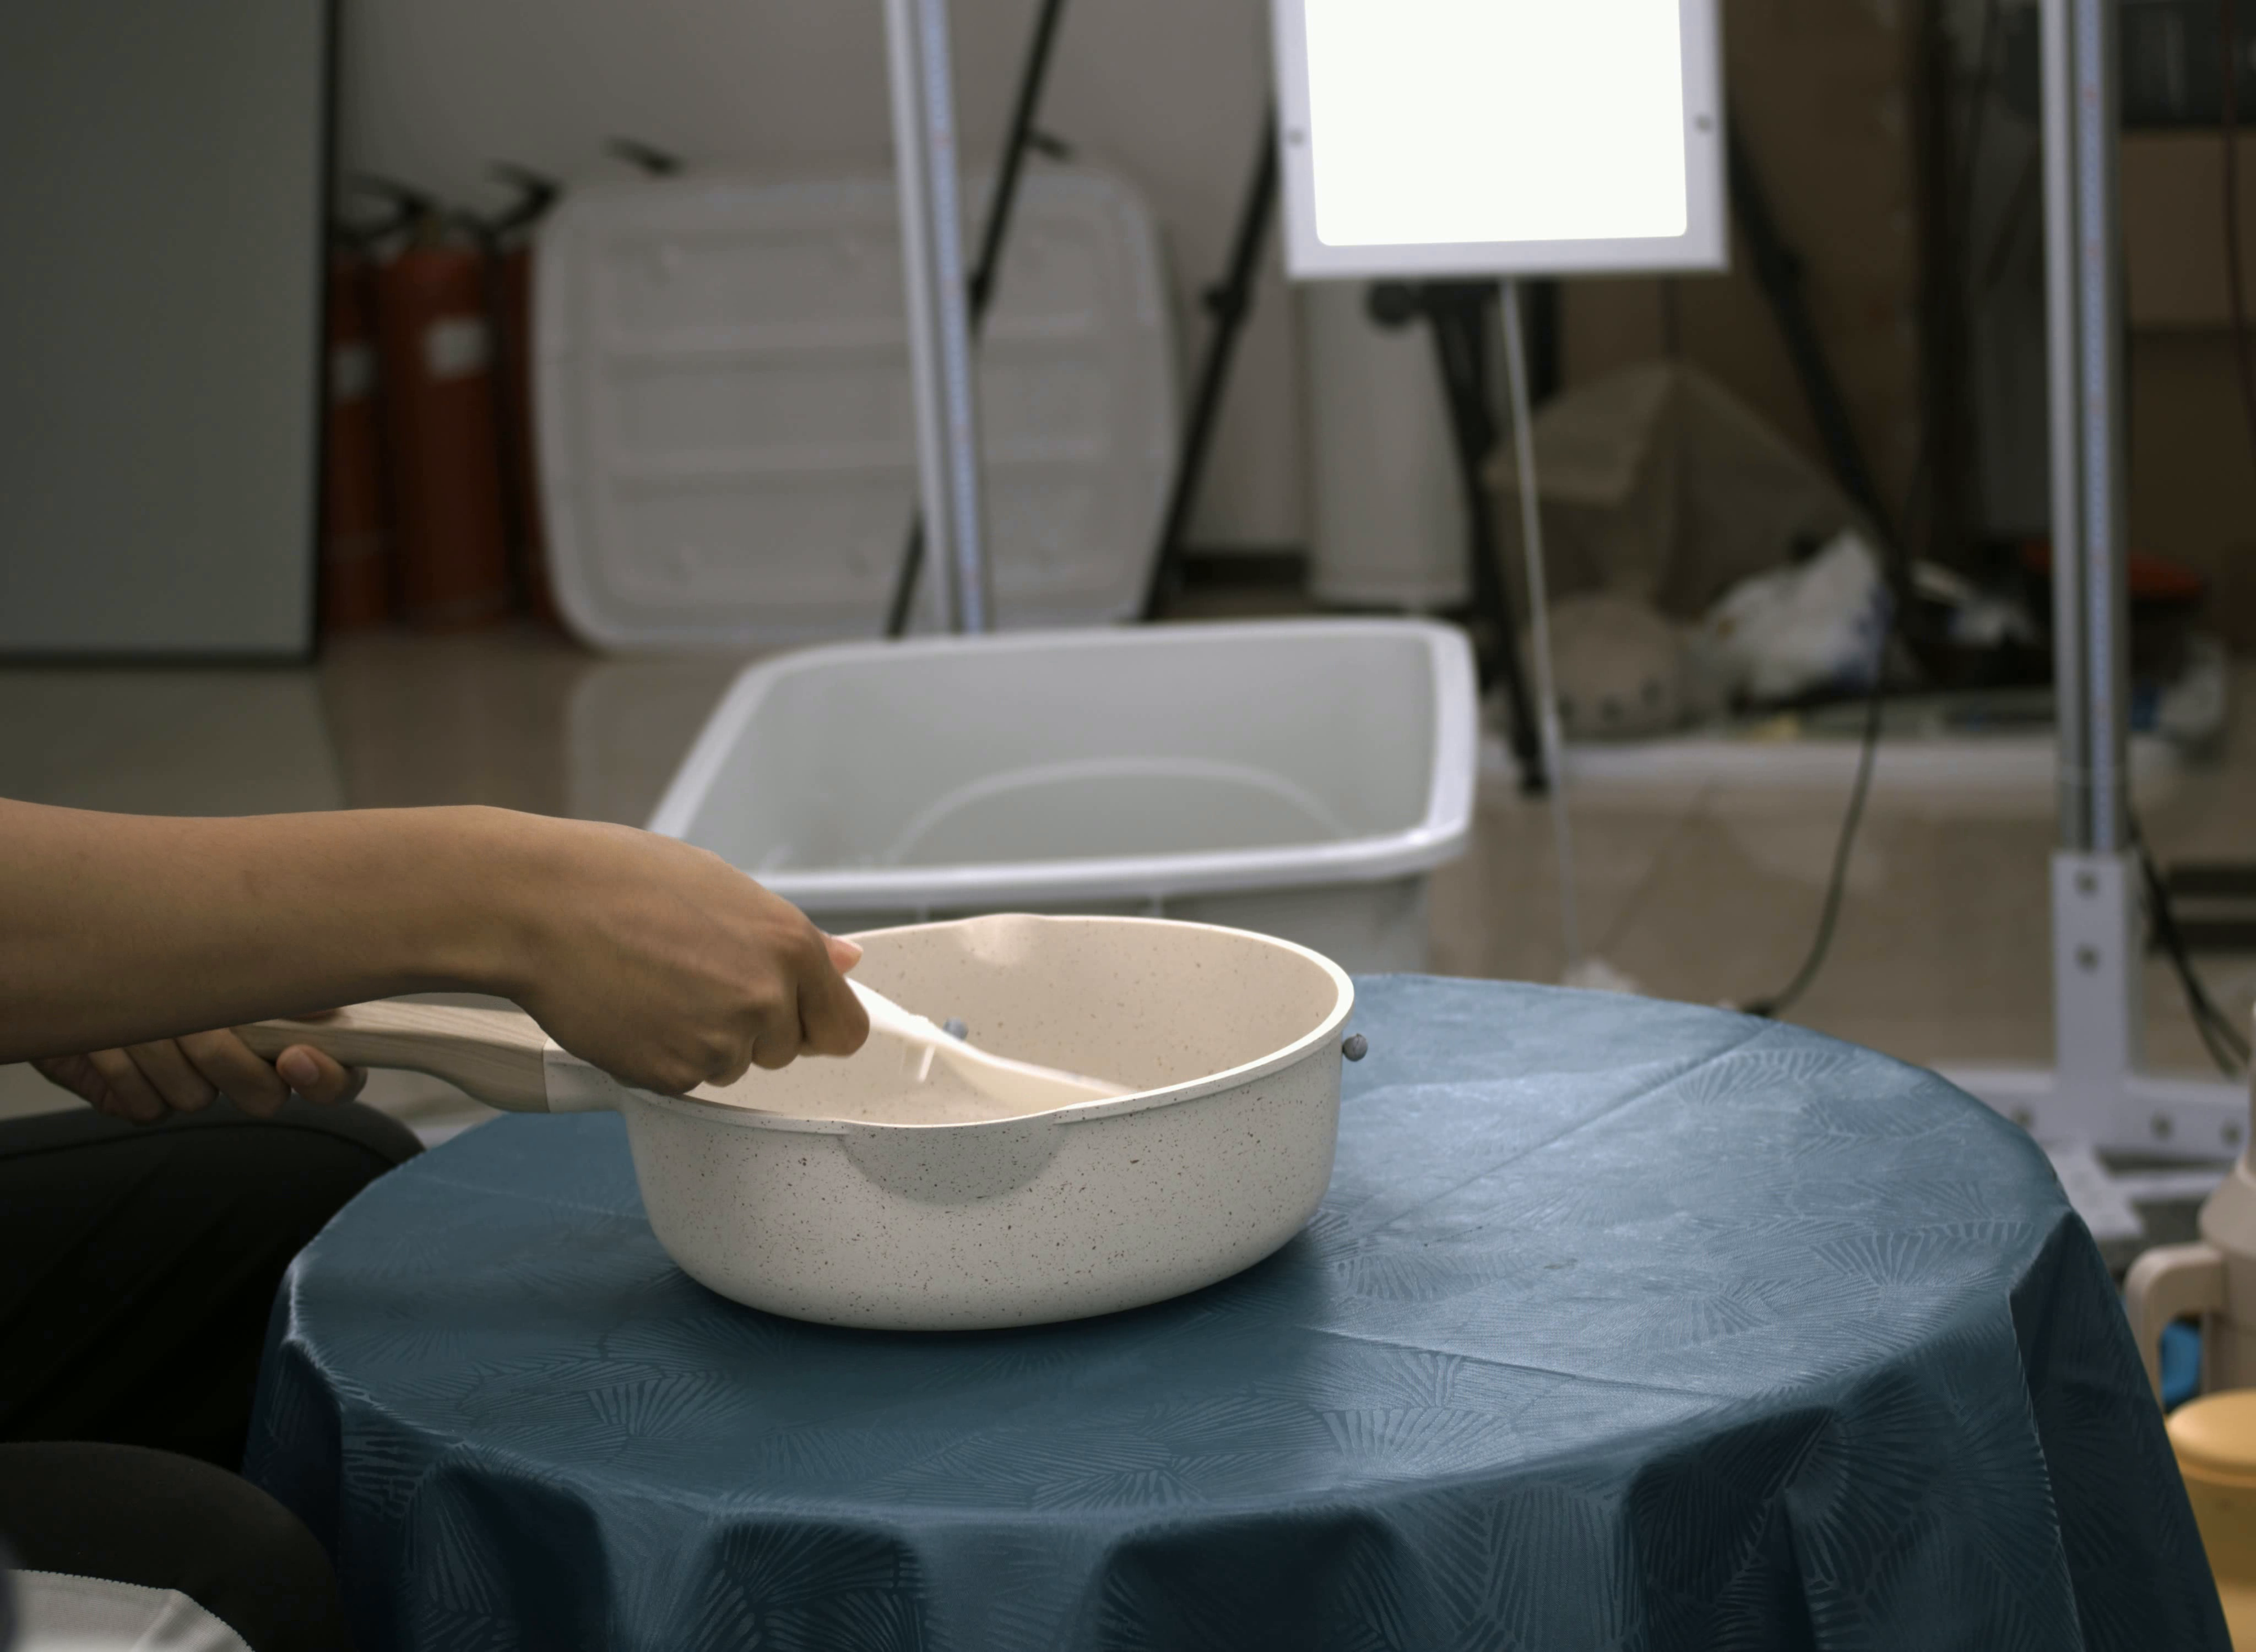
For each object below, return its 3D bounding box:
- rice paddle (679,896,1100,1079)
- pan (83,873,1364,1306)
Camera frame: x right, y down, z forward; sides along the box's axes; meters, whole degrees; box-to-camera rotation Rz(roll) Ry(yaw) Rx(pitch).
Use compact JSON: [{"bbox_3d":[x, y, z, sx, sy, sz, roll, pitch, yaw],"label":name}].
[{"bbox_3d":[-0.060,0.063,1.827,0.201,0.029,0.070,20,-3,-37],"label":"rice paddle"},{"bbox_3d":[-0.134,0.090,1.871,0.436,0.102,0.262,-4,16,5],"label":"pan"}]
